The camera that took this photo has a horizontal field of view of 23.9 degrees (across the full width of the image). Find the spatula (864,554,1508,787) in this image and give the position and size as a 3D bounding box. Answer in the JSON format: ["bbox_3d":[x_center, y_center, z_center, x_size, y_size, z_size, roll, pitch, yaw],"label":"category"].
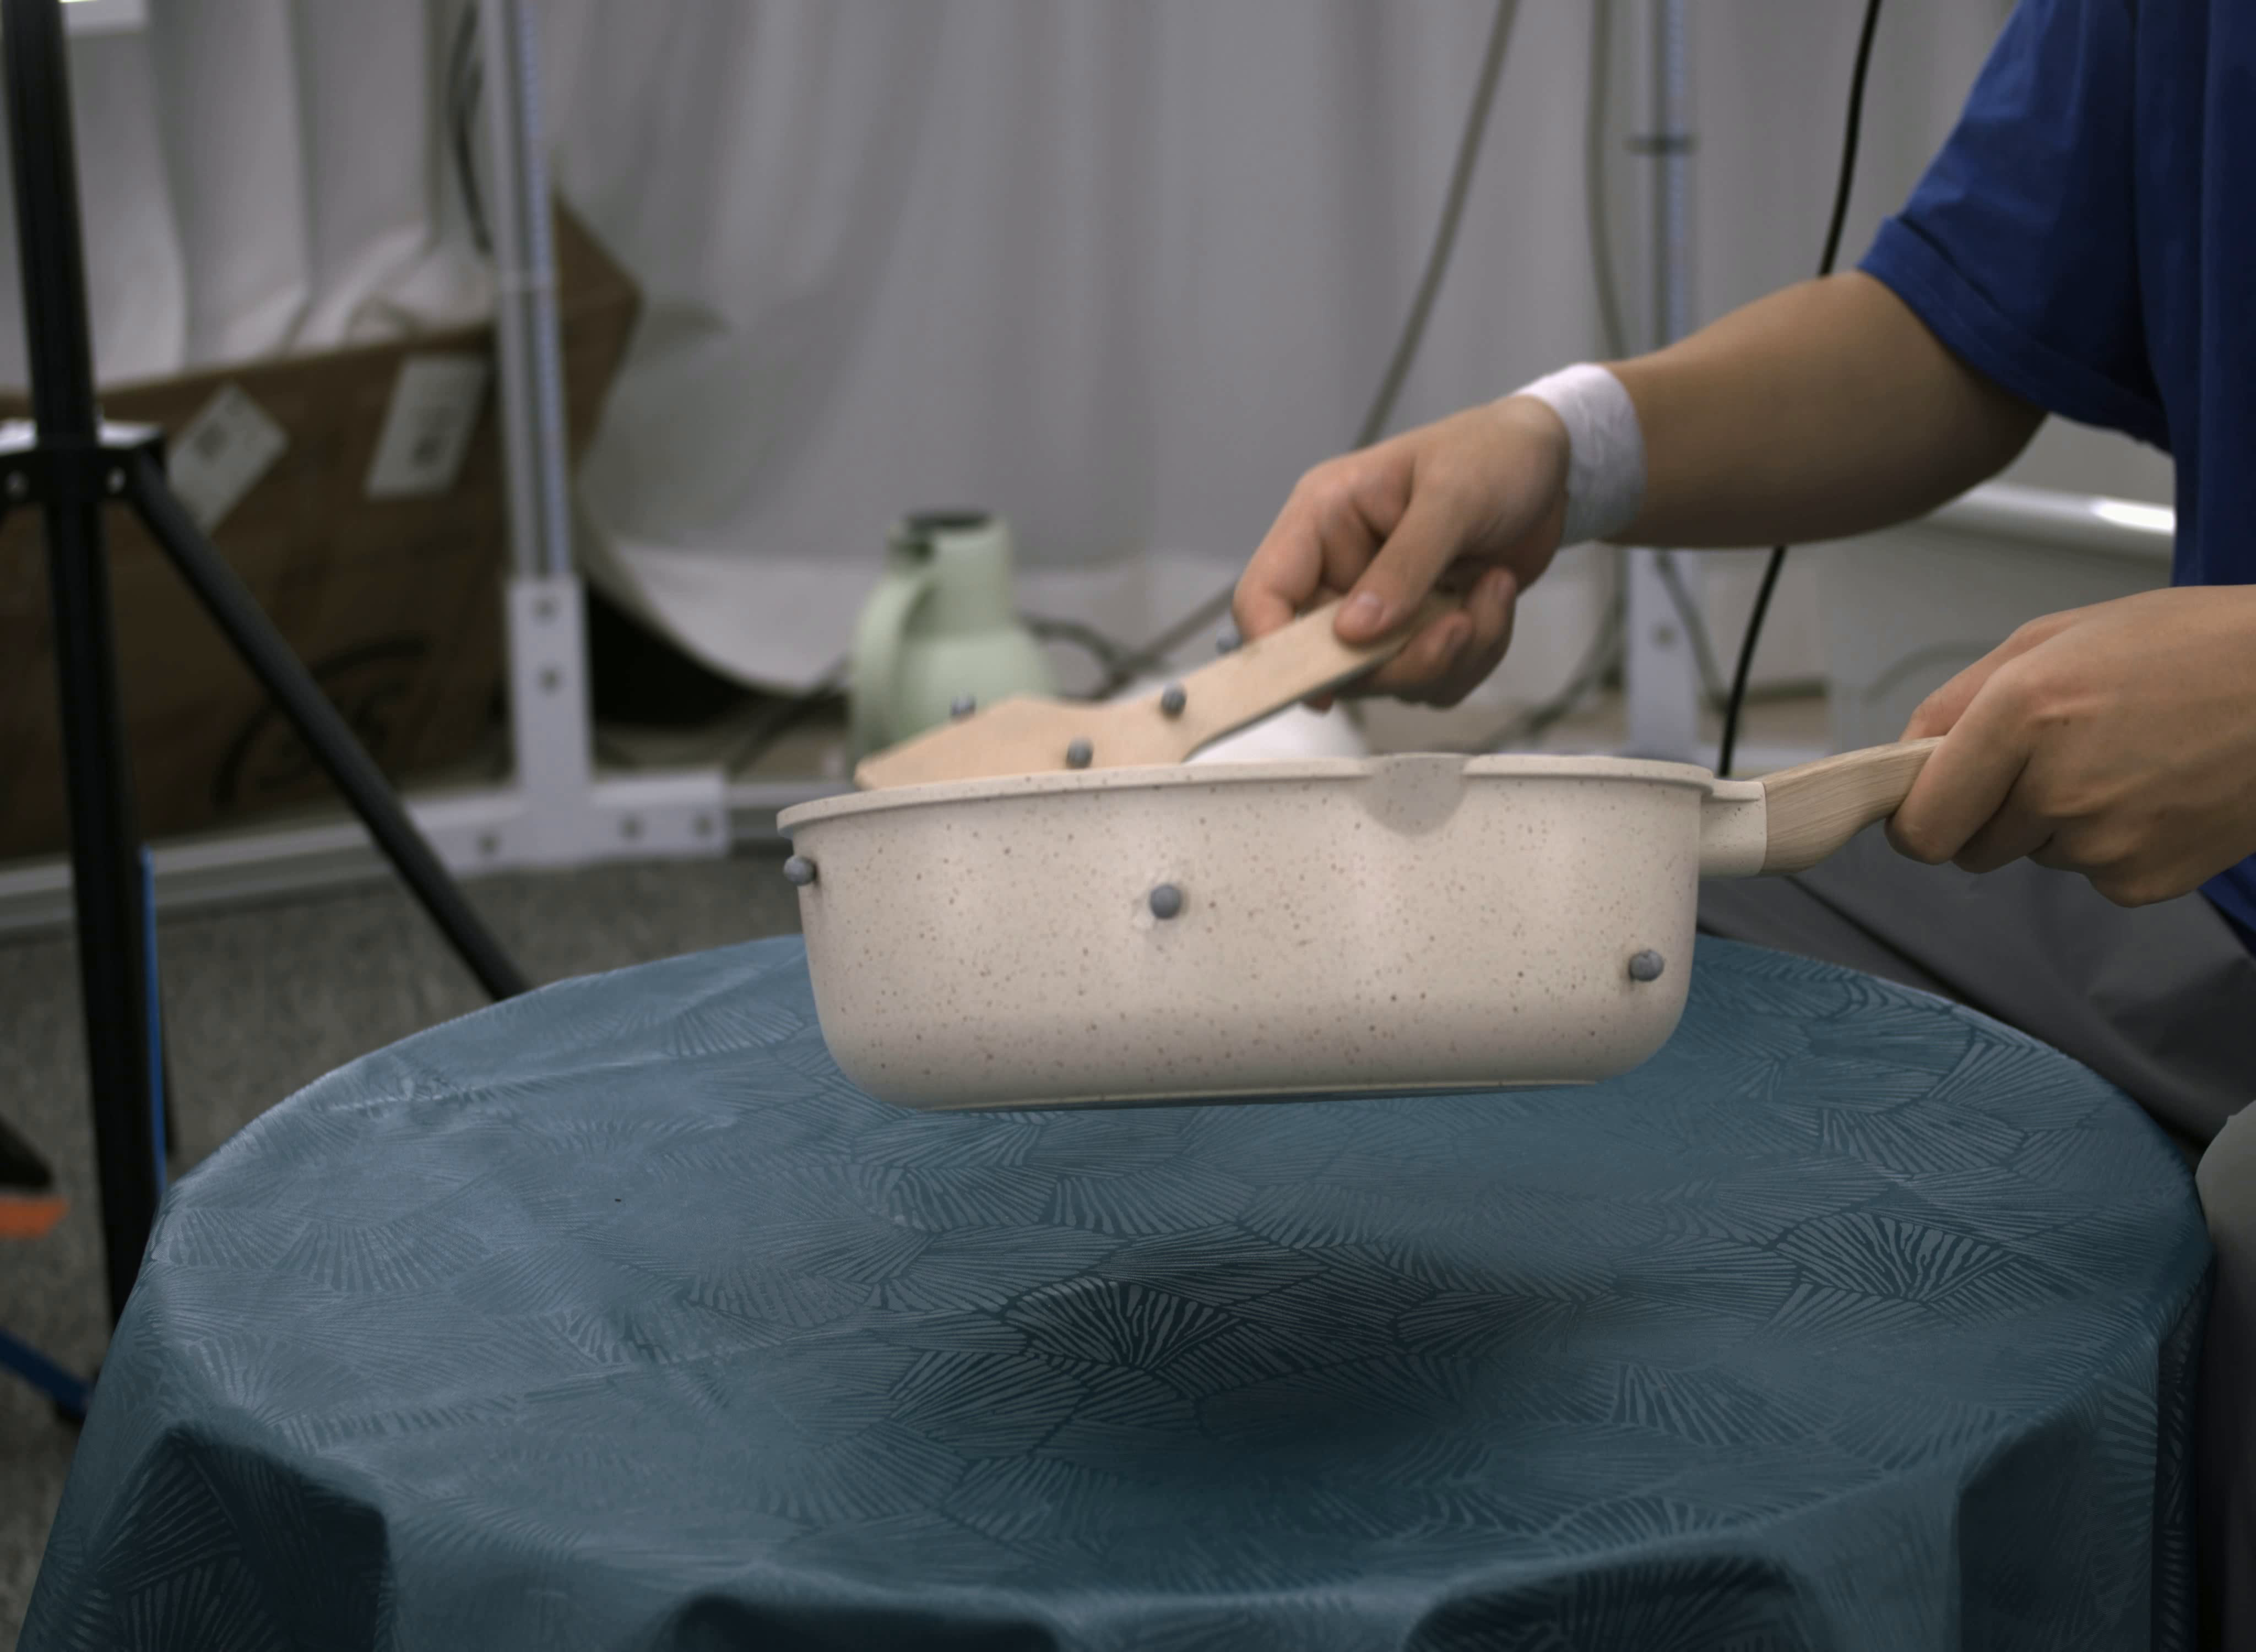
[{"bbox_3d":[0.030,-0.037,1.703,0.073,0.011,0.287,39,41,22],"label":"spatula"}]

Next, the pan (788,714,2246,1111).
[{"bbox_3d":[0.121,0.021,1.437,0.427,0.102,0.266,0,-6,-19],"label":"pan"}]
